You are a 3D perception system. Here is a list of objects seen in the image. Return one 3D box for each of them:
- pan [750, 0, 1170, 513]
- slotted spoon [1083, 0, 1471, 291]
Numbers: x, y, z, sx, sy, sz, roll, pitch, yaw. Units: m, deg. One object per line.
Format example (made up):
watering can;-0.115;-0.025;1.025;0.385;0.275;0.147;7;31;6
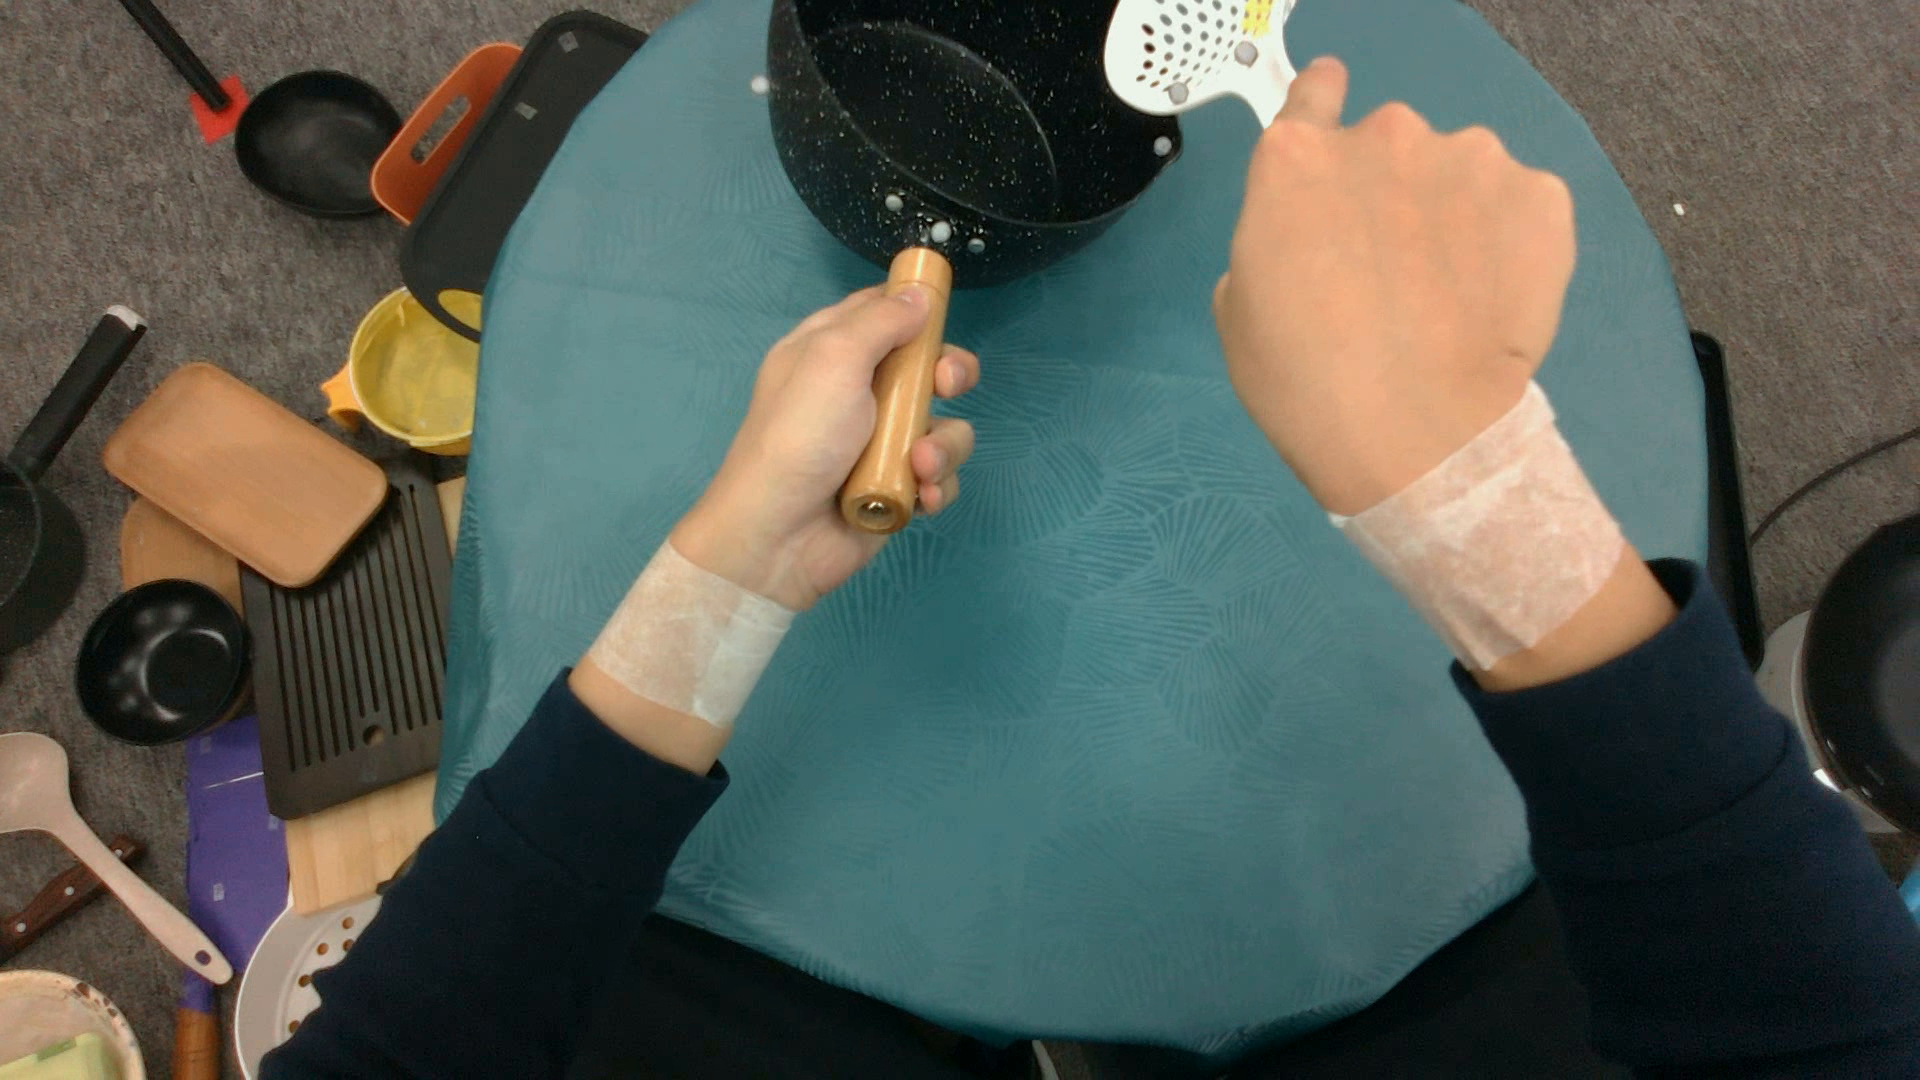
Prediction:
pan;-0.018;-0.144;0.590;0.207;0.107;0.344;22;60;-20
slotted spoon;0.111;-0.184;0.509;0.050;0.136;0.349;25;34;-19
